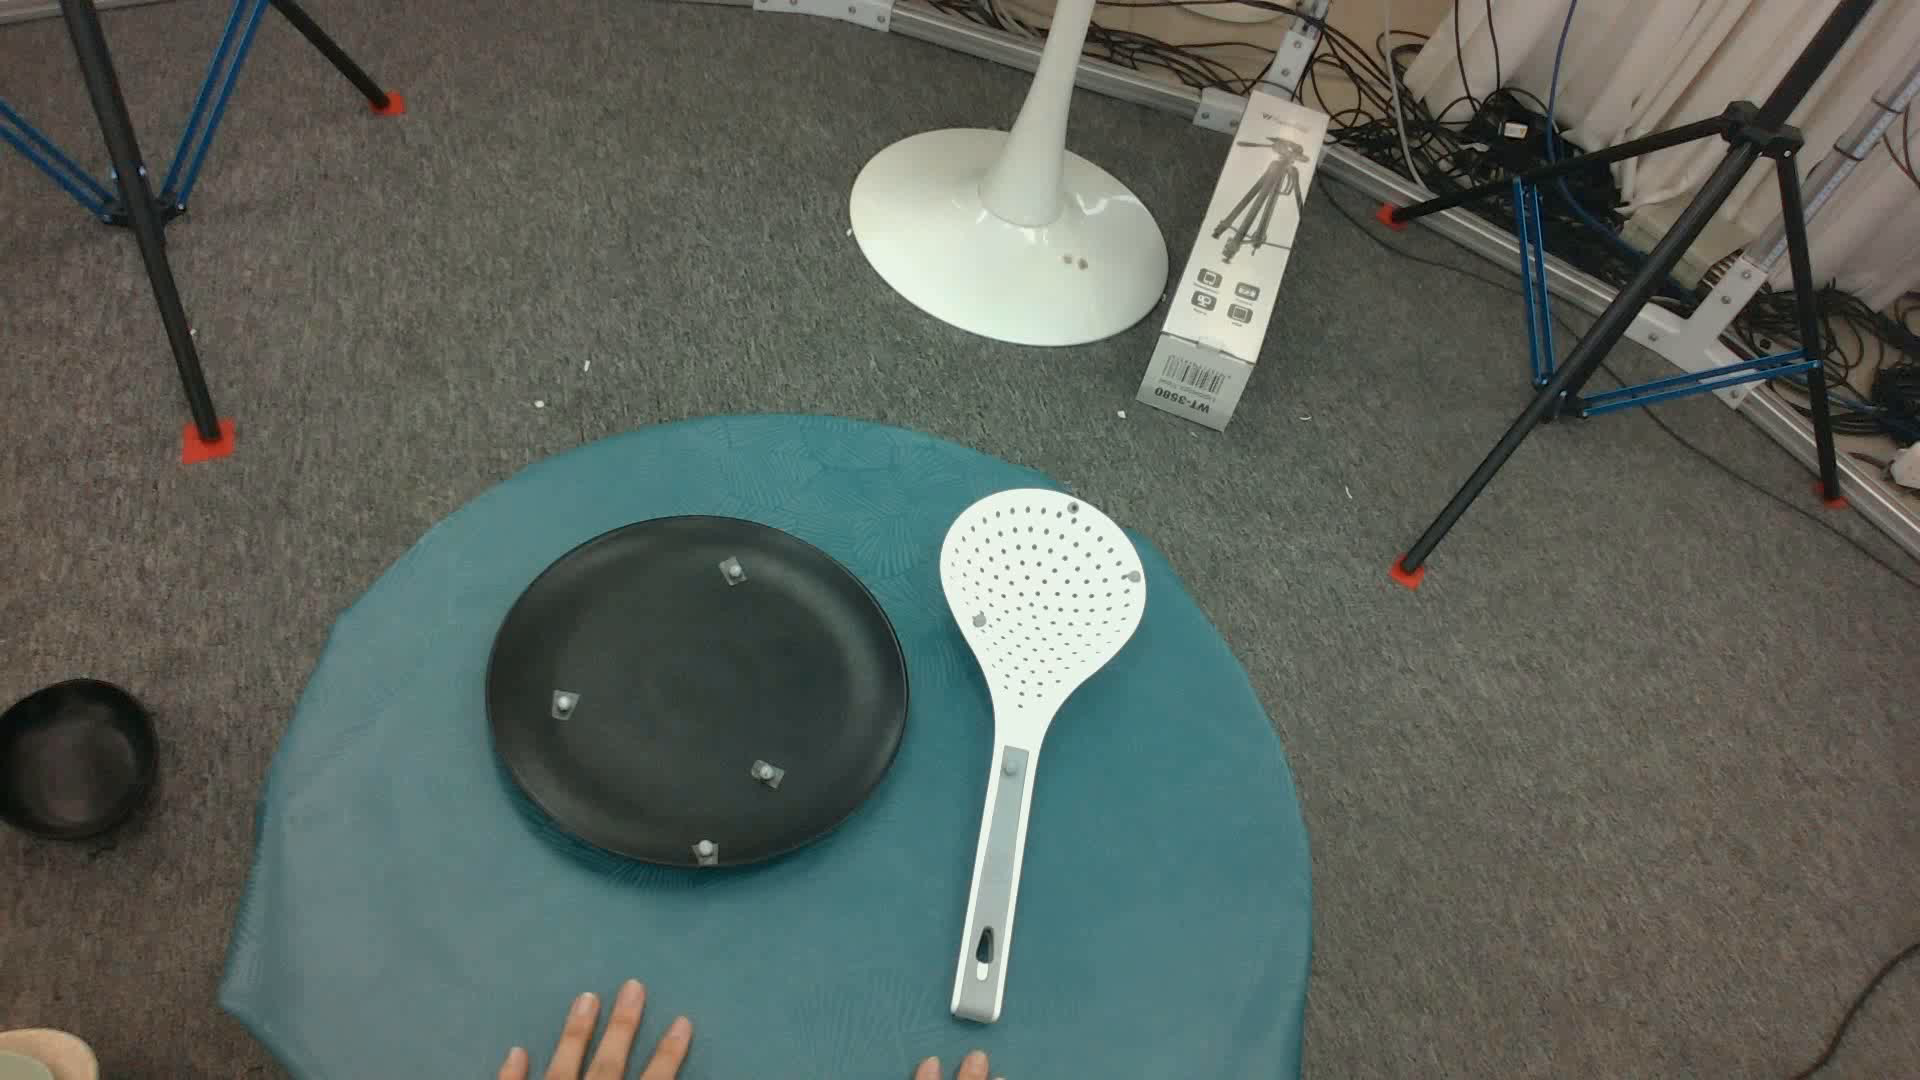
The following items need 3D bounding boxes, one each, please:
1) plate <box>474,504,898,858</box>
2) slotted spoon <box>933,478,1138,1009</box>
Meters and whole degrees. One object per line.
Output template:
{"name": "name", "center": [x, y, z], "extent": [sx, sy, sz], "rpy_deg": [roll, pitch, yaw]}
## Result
{"name": "plate", "center": [-0.158, 0.079, 0.815], "extent": [0.244, 0.023, 0.245], "rpy_deg": [8, 50, -10]}
{"name": "slotted spoon", "center": [0.030, 0.107, 0.832], "extent": [0.136, 0.045, 0.351], "rpy_deg": [14, 51, -3]}
